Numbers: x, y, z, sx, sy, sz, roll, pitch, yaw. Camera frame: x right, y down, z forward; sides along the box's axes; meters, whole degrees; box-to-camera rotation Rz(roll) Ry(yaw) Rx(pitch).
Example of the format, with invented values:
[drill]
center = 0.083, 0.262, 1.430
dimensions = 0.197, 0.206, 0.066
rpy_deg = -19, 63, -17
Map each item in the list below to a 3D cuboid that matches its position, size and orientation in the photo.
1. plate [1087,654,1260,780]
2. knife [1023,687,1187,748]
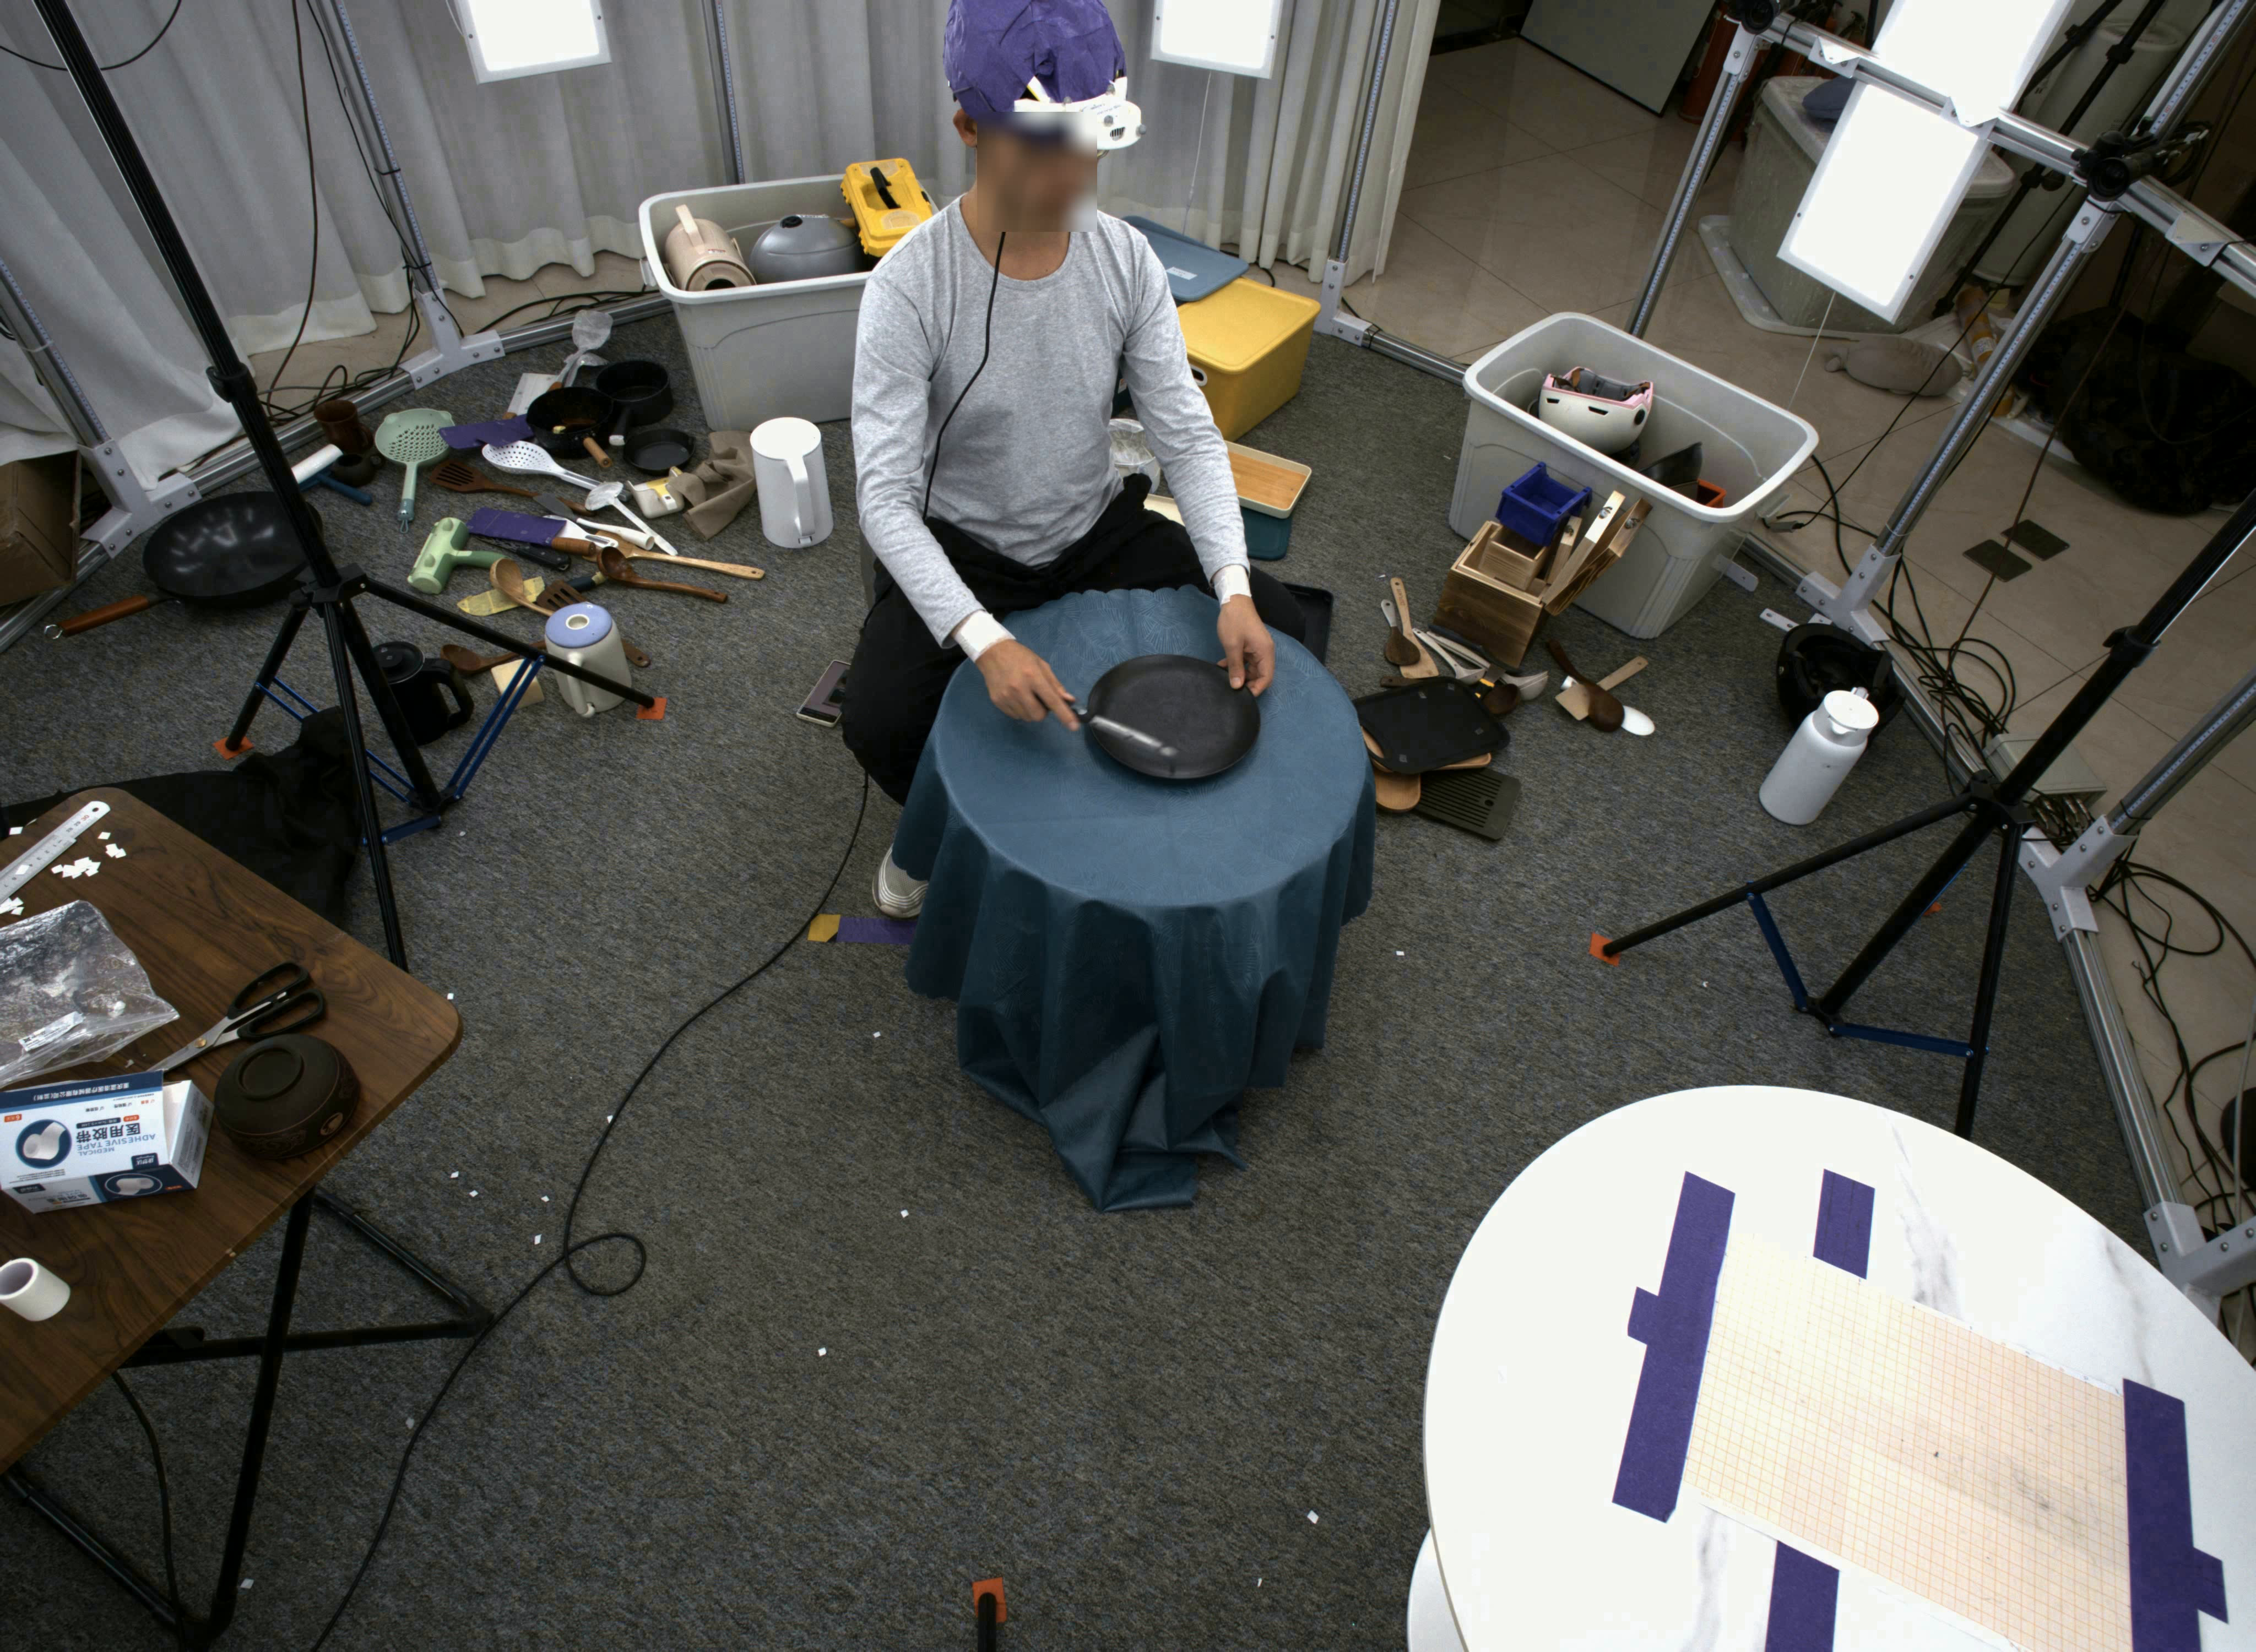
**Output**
[plate]
center = 0.063, -0.150, 1.787
dimensions = 0.244, 0.023, 0.250
rpy_deg = 2, 49, -2
[knife]
center = -0.034, -0.142, 1.711
dimensions = 0.239, 0.016, 0.025
rpy_deg = 20, 42, 13
